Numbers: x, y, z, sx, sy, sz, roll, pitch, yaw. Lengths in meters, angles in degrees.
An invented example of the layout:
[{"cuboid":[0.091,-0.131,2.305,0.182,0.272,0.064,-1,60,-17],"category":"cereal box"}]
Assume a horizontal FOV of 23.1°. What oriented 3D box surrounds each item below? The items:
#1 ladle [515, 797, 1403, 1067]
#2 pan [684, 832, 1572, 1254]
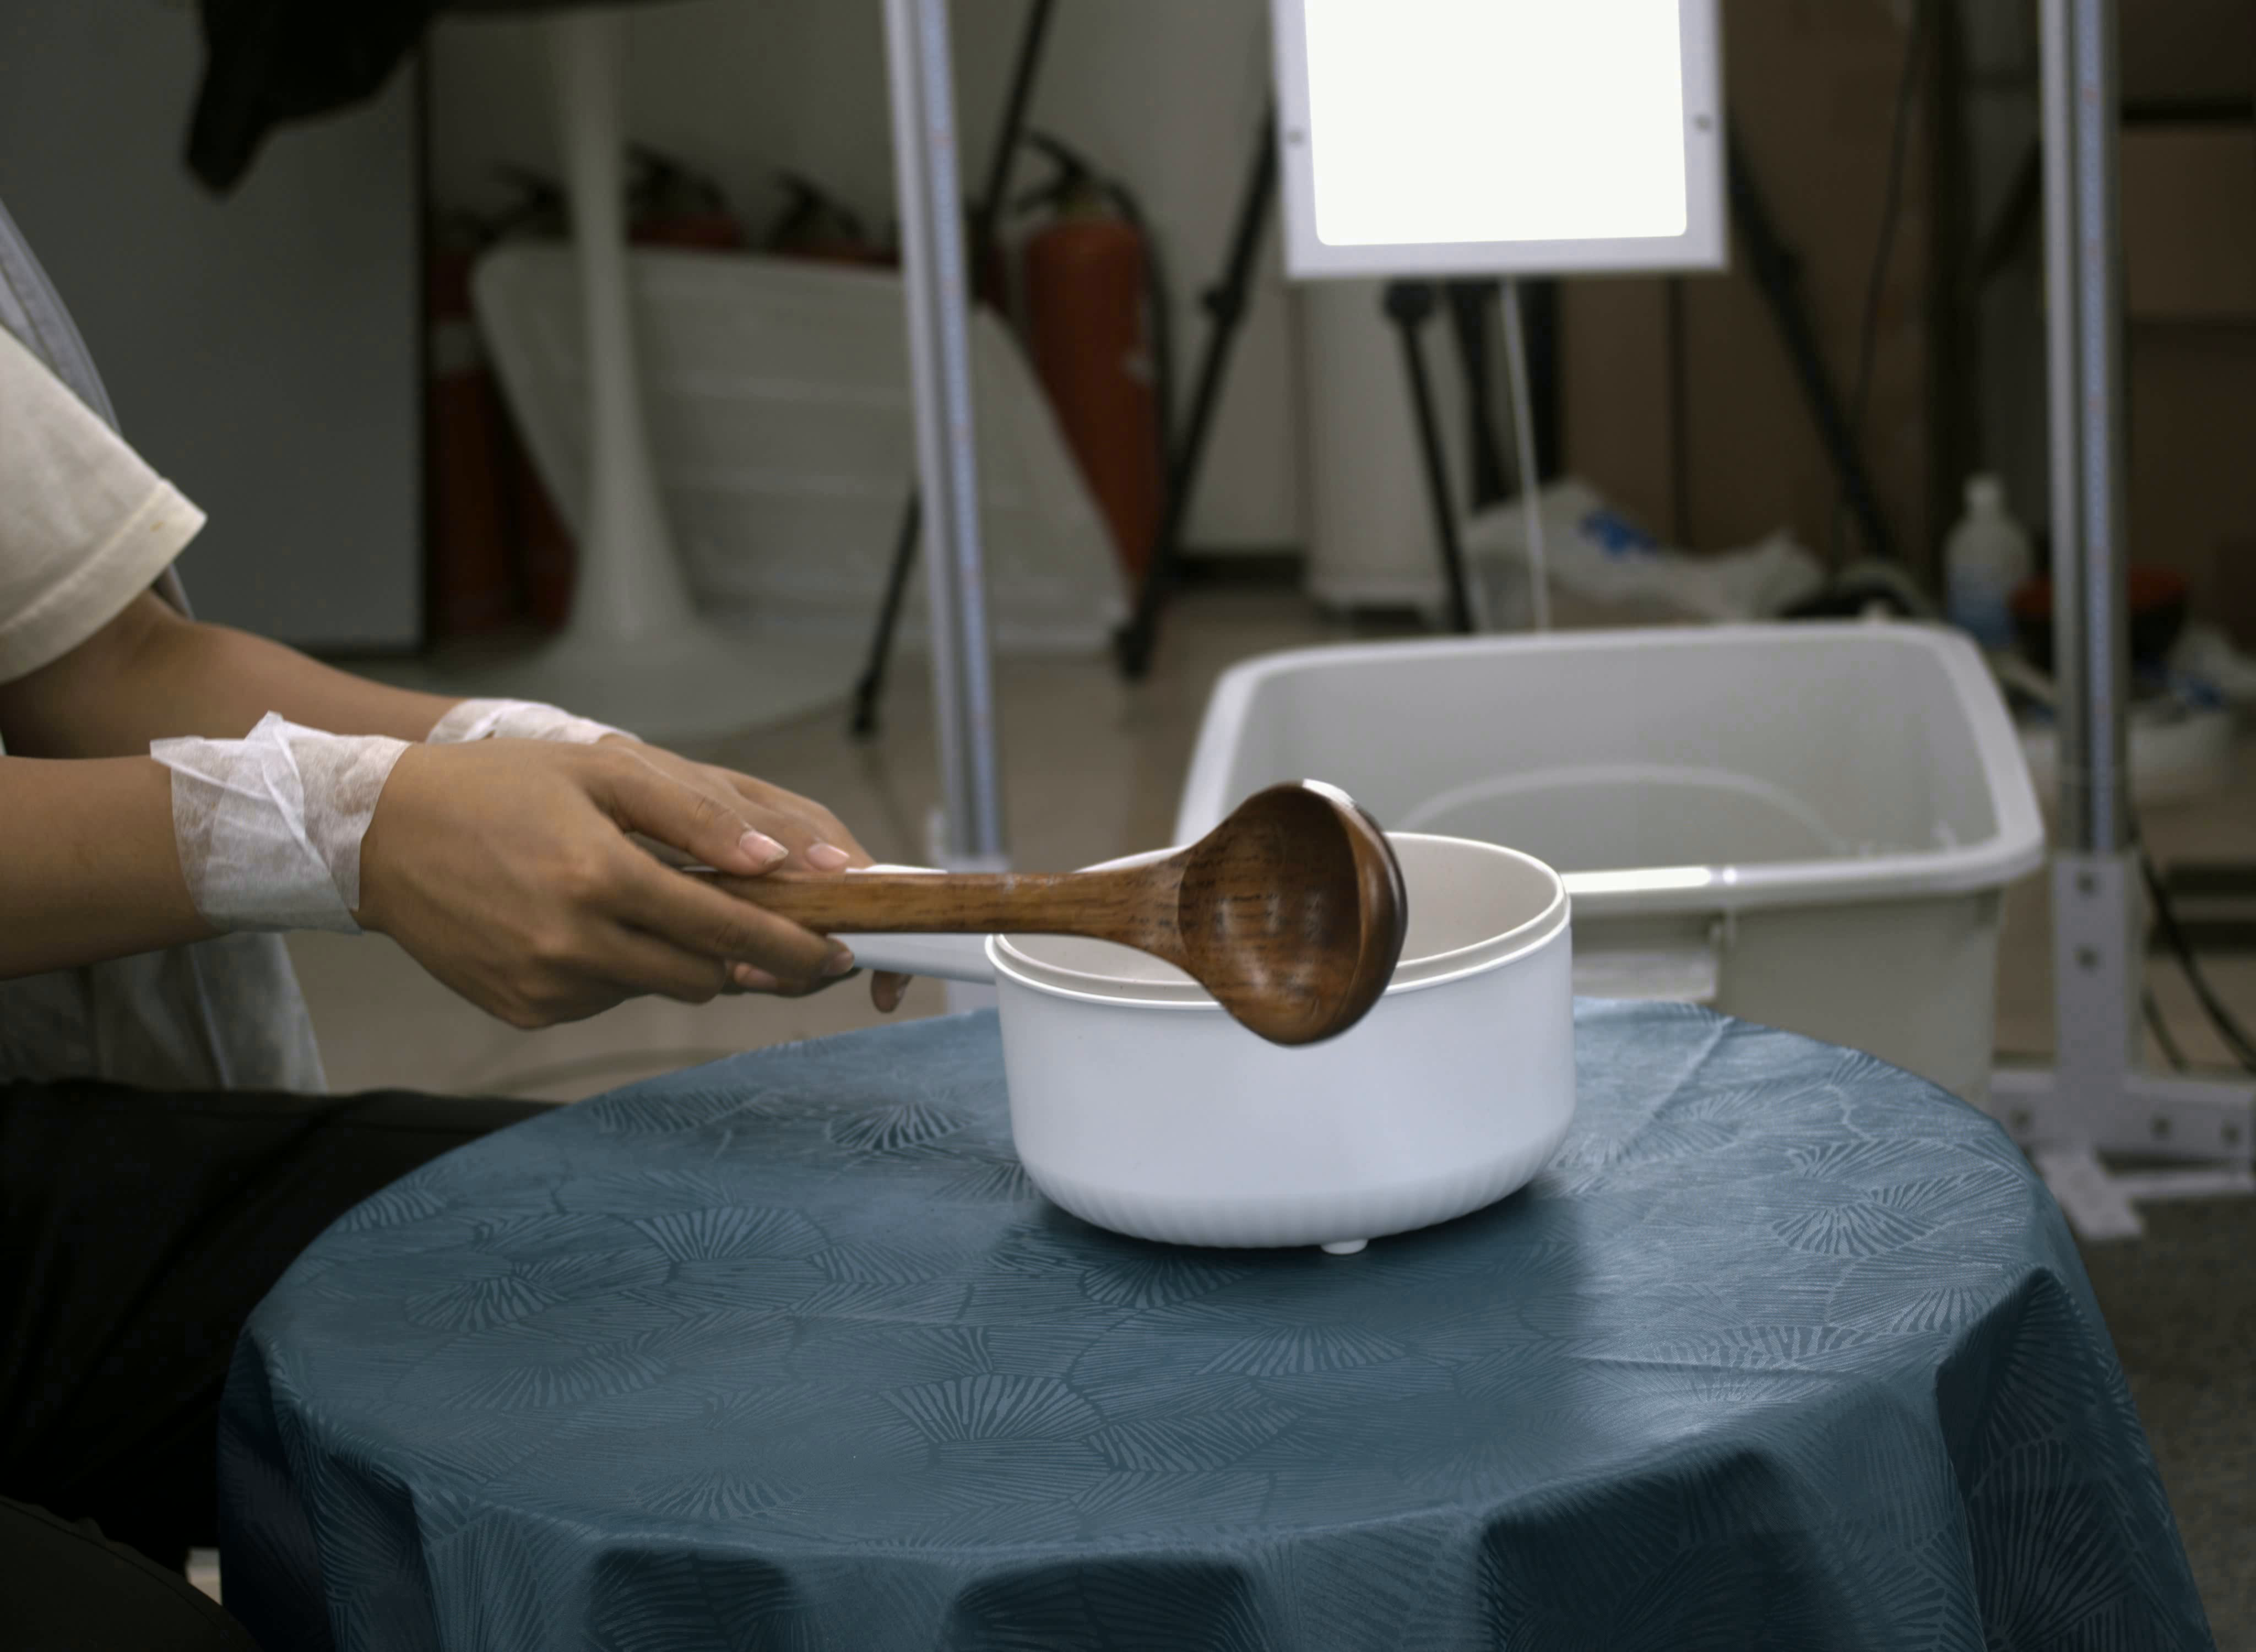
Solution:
[{"cuboid":[-0.054,0.026,1.675,0.274,0.082,0.076,3,-1,2],"category":"ladle"},{"cuboid":[-0.008,0.070,1.922,0.362,0.102,0.196,5,17,37],"category":"pan"}]
